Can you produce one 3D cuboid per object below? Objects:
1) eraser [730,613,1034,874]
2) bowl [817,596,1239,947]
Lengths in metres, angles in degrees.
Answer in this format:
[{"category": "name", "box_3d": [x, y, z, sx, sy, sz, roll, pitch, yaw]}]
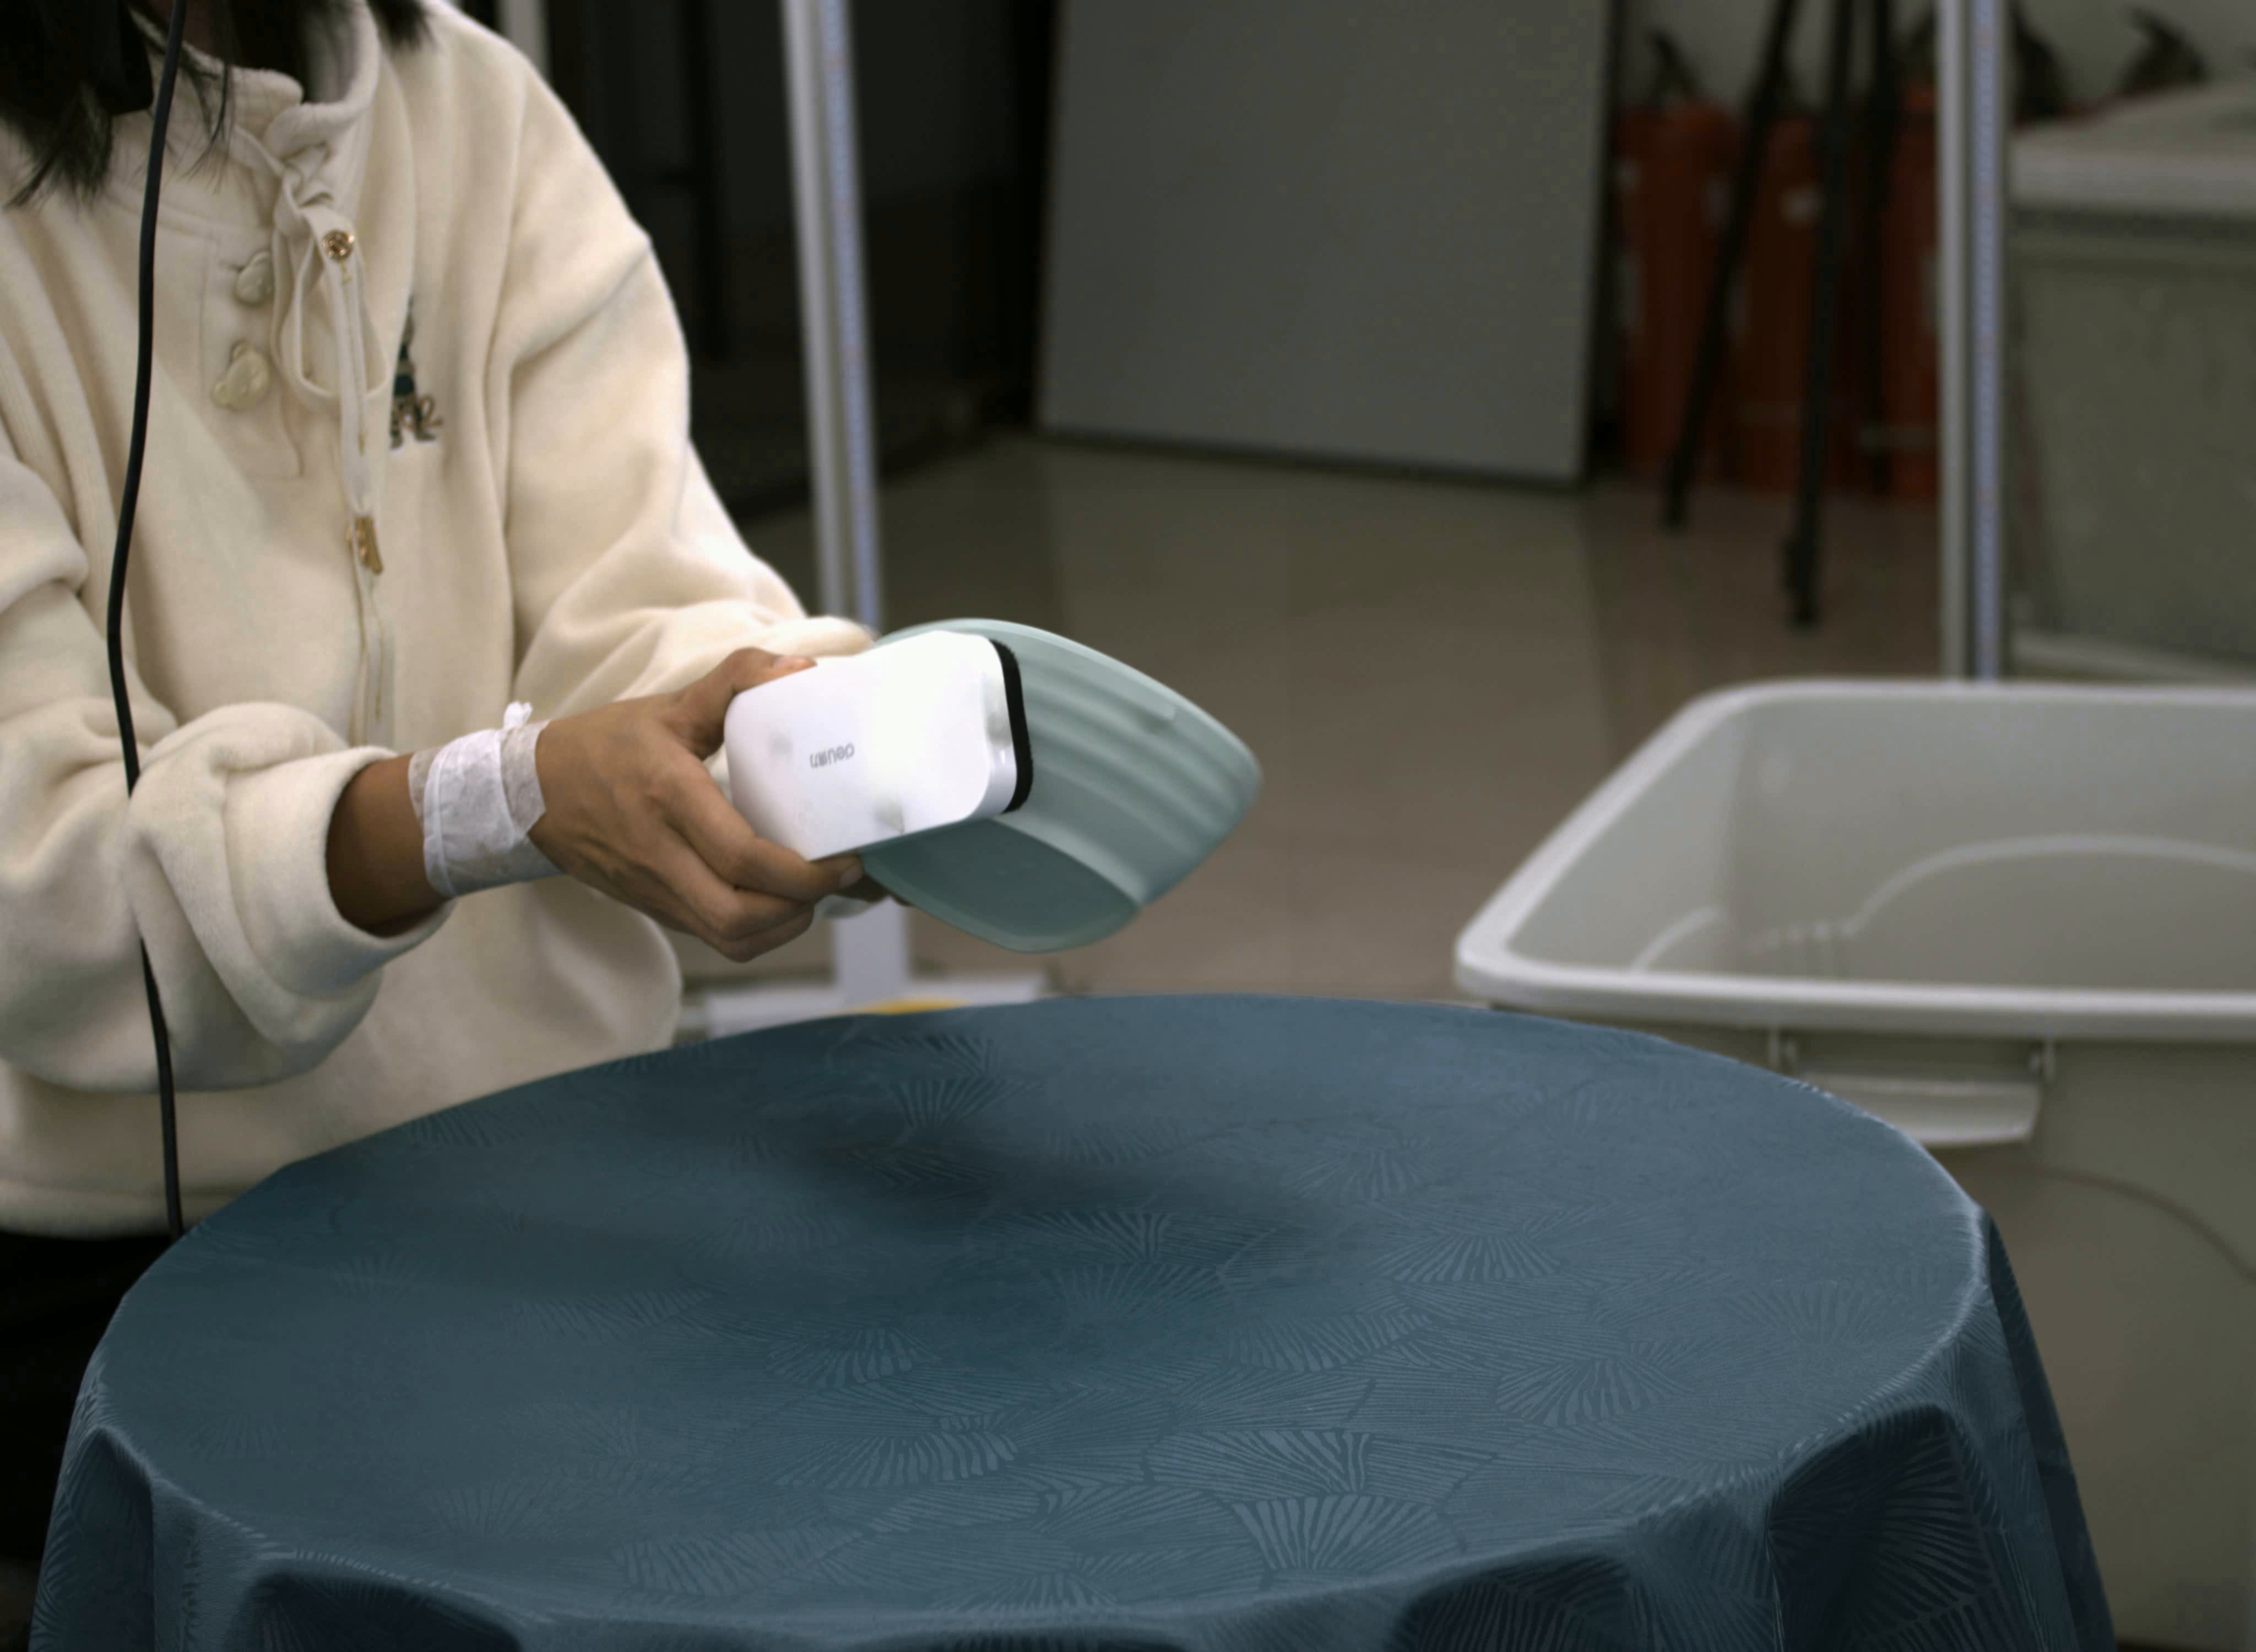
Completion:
[{"category": "eraser", "box_3d": [-0.081, -0.026, 1.712, 0.034, 0.064, 0.132, -1, -11, -40]}, {"category": "bowl", "box_3d": [-0.042, -0.009, 1.764, 0.152, 0.150, 0.059, 5, 59, 31]}]
